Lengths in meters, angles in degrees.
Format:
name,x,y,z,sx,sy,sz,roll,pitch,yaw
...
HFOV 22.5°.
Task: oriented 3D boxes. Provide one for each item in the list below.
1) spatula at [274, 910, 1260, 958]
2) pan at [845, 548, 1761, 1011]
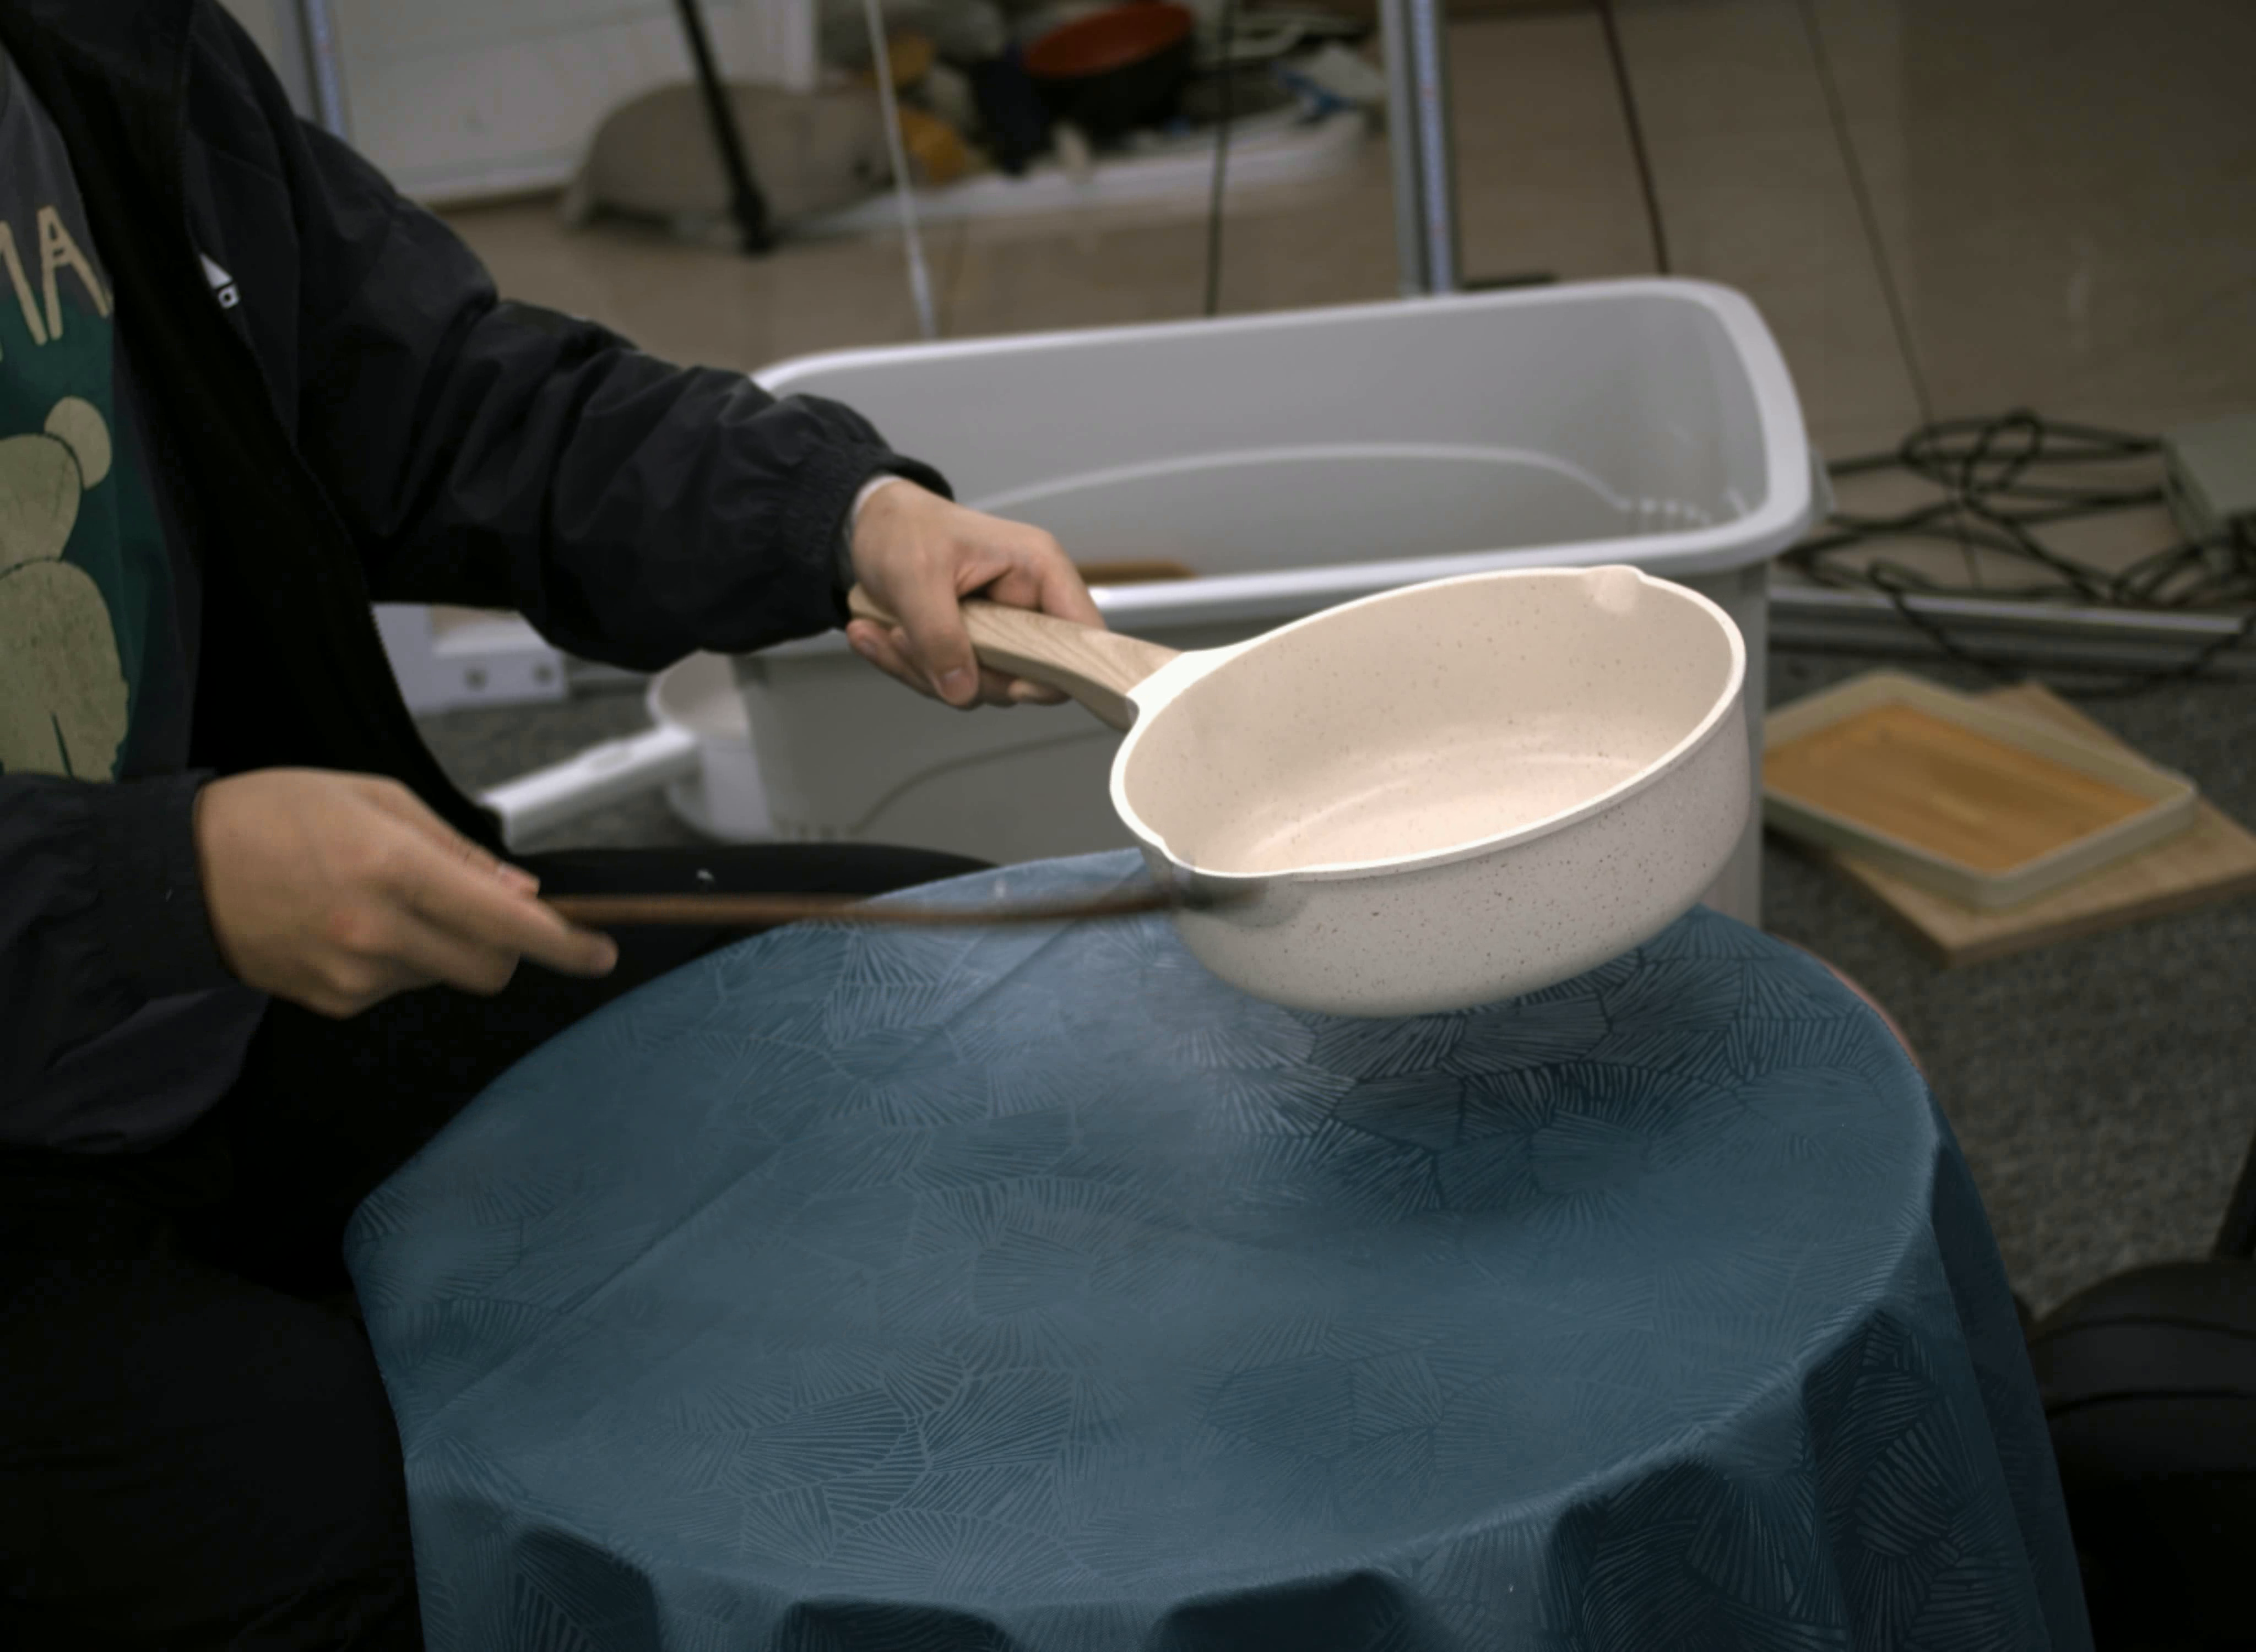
name,x,y,z,sx,sy,sz,roll,pitch,yaw
spatula,-0.139,0.038,2.048,0.385,0.016,0.096,0,2,21
pan,0.058,-0.031,2.255,0.432,0.103,0.260,10,37,42
